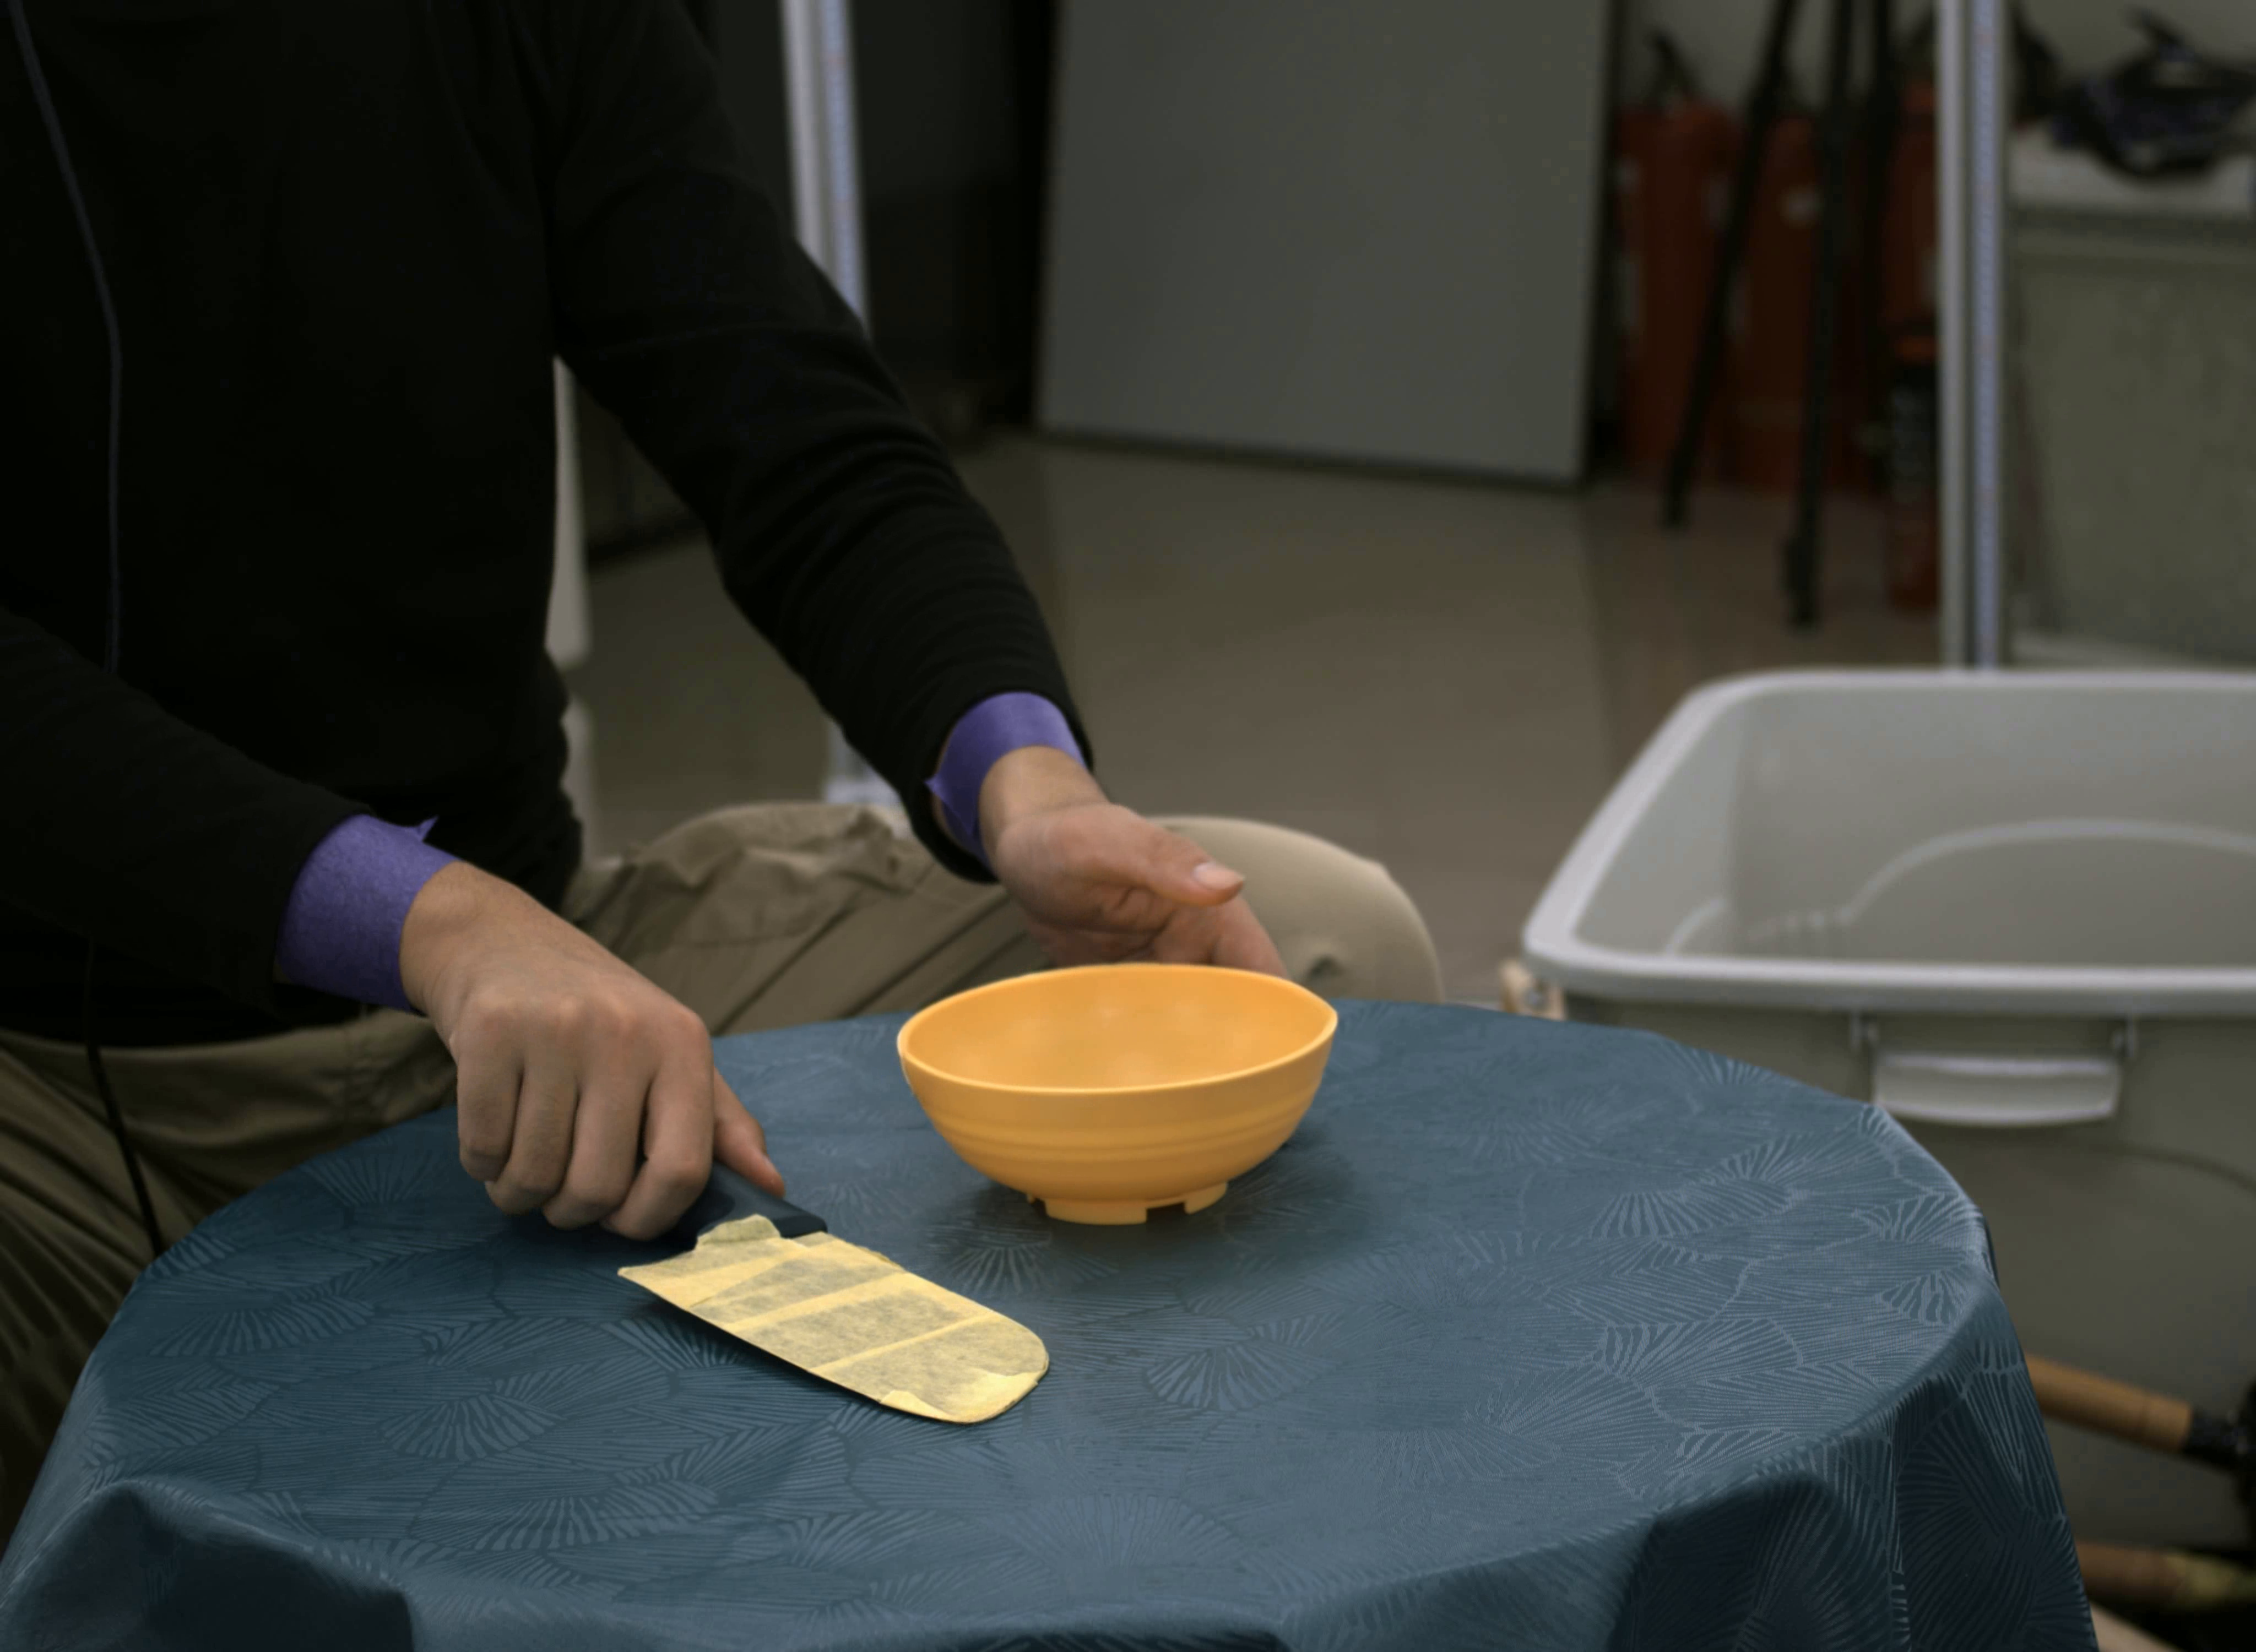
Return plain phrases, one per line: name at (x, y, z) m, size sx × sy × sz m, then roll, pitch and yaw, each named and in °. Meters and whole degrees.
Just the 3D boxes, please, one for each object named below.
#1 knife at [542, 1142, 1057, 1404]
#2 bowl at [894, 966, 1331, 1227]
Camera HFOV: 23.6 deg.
knife at (-0.115, 0.142, 1.696) m, size 0.079 × 0.027 × 0.292 m, roll -9°, pitch 16°, yaw -33°
bowl at (-0.004, 0.093, 1.766) m, size 0.143 × 0.061 × 0.145 m, roll -2°, pitch 14°, yaw 0°
